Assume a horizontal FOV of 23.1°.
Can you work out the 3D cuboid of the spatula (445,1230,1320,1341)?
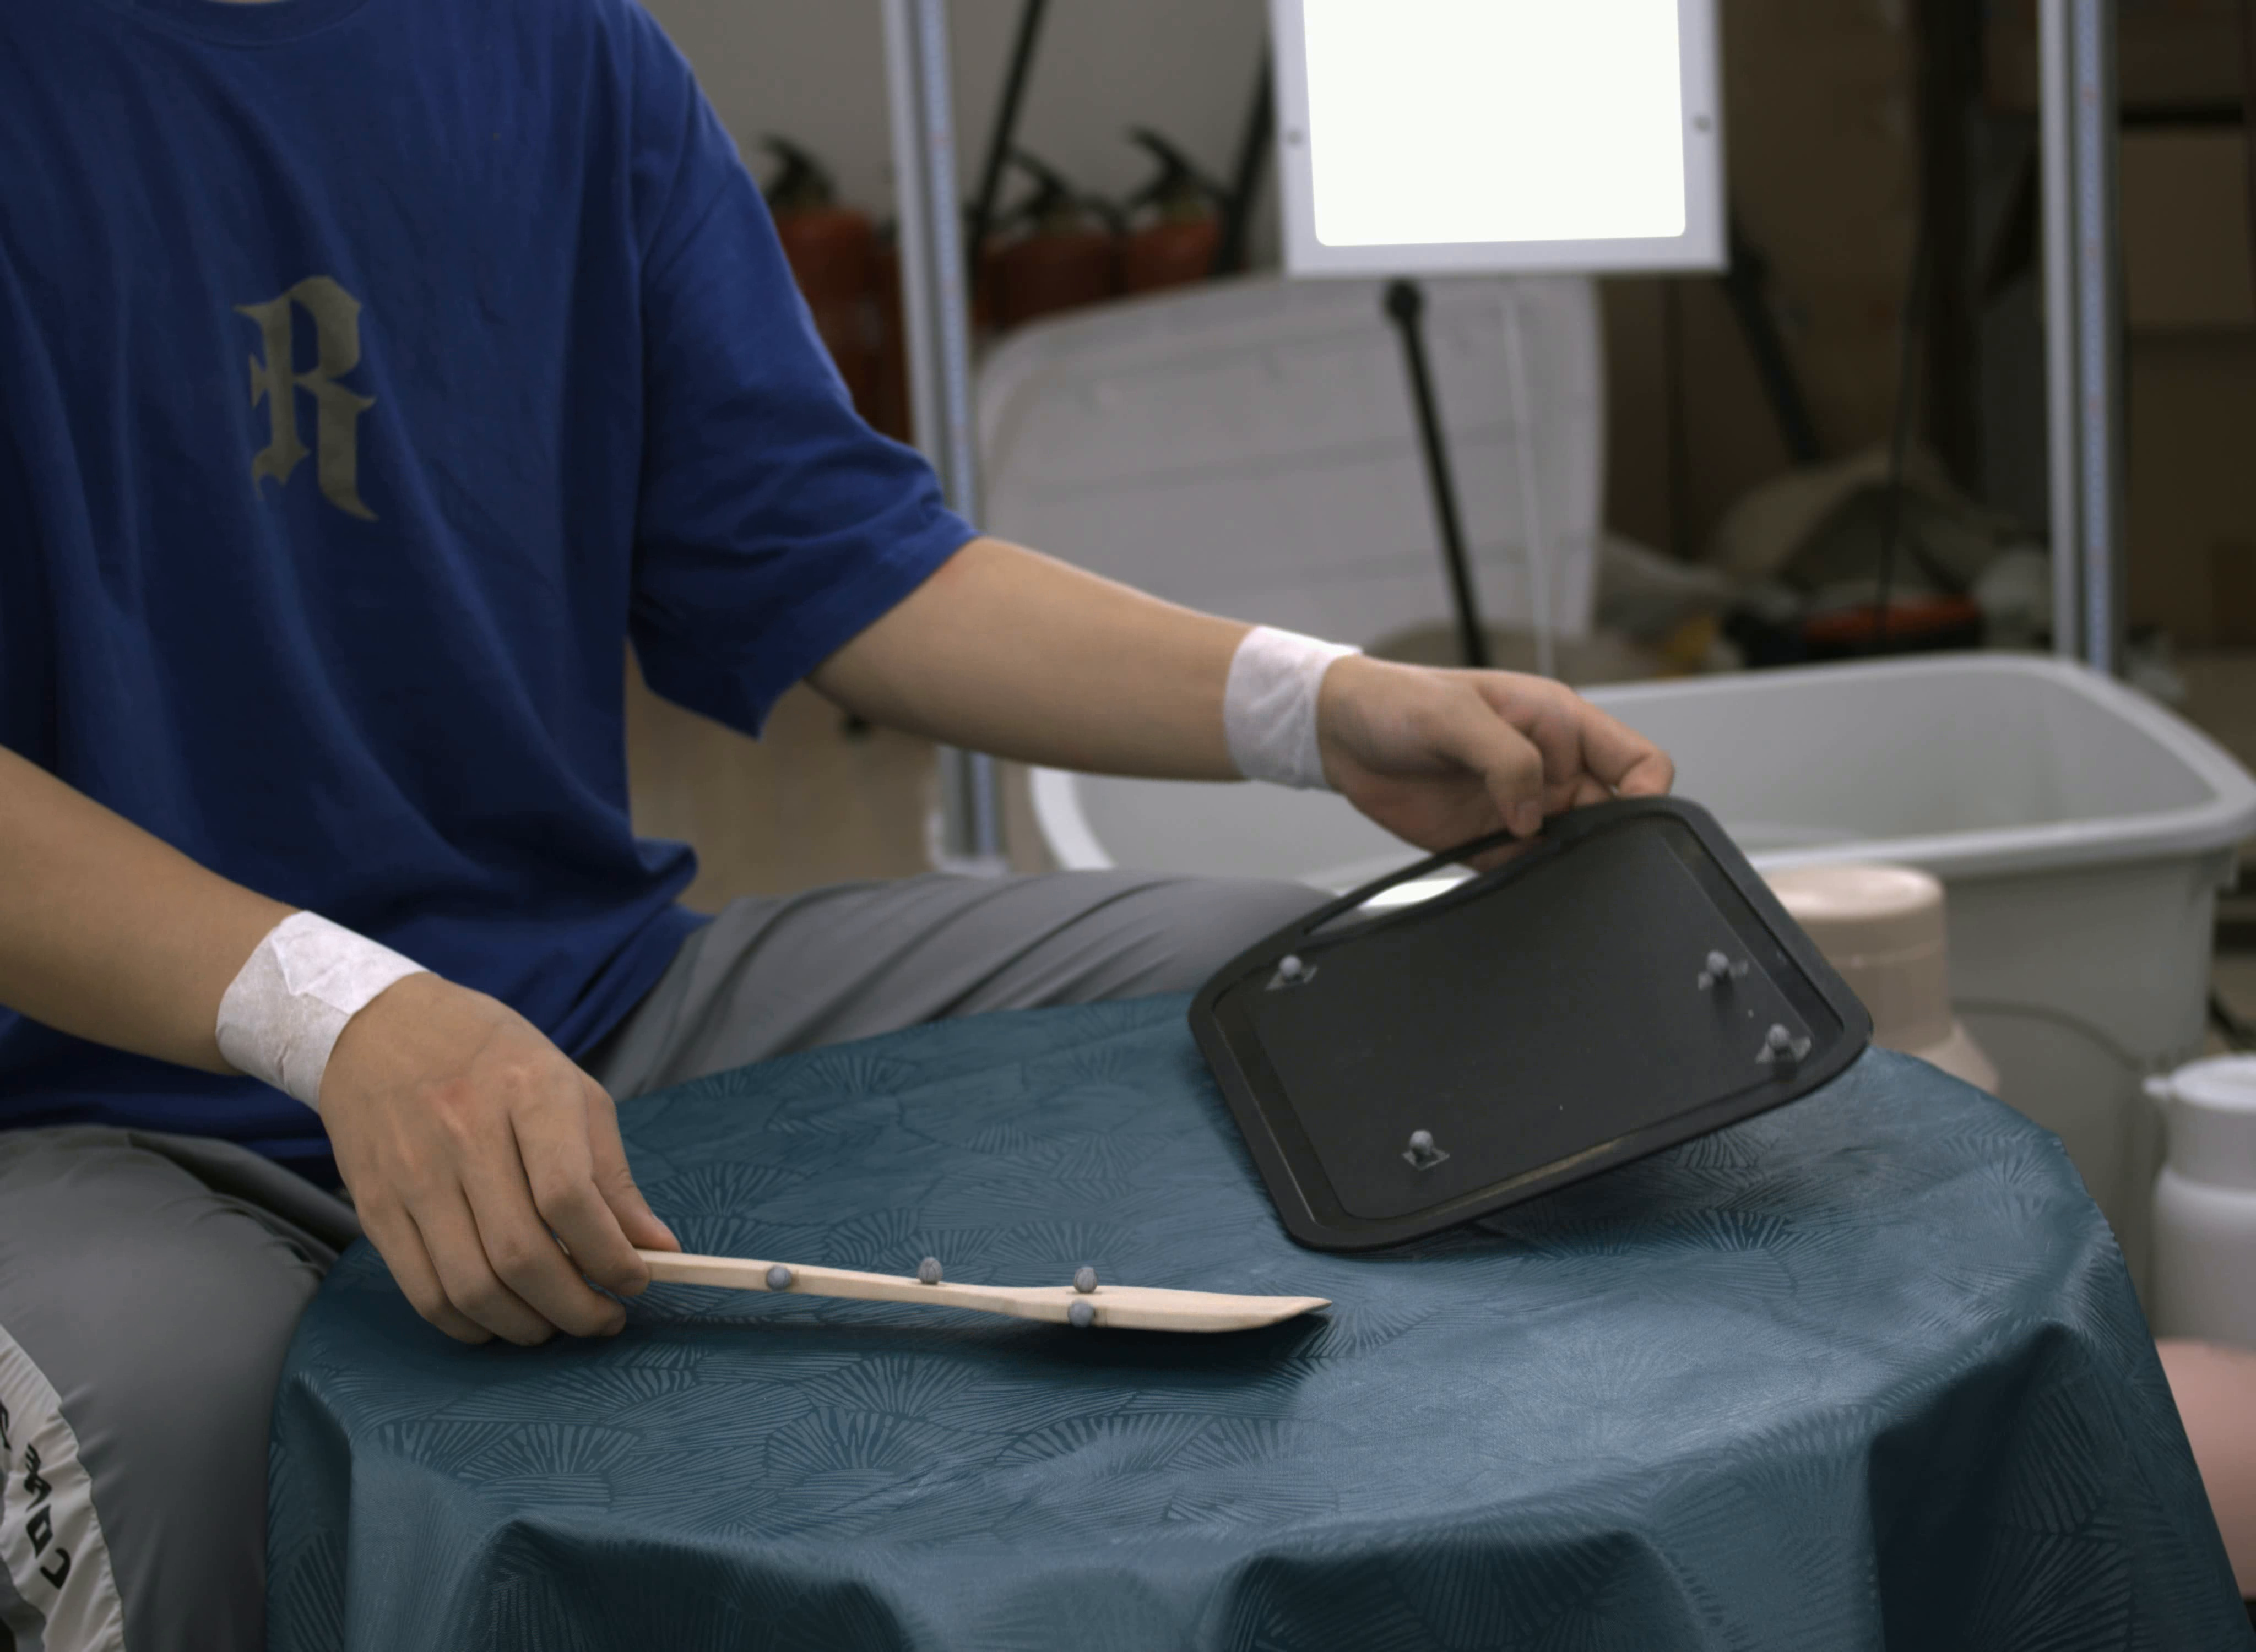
[{"bbox_3d":[-0.085,0.147,1.775,0.297,0.011,0.071,4,4,20],"label":"spatula"}]

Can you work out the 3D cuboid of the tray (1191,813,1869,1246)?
[{"bbox_3d":[0.134,0.064,1.947,0.211,0.010,0.326,-20,19,0],"label":"tray"}]
